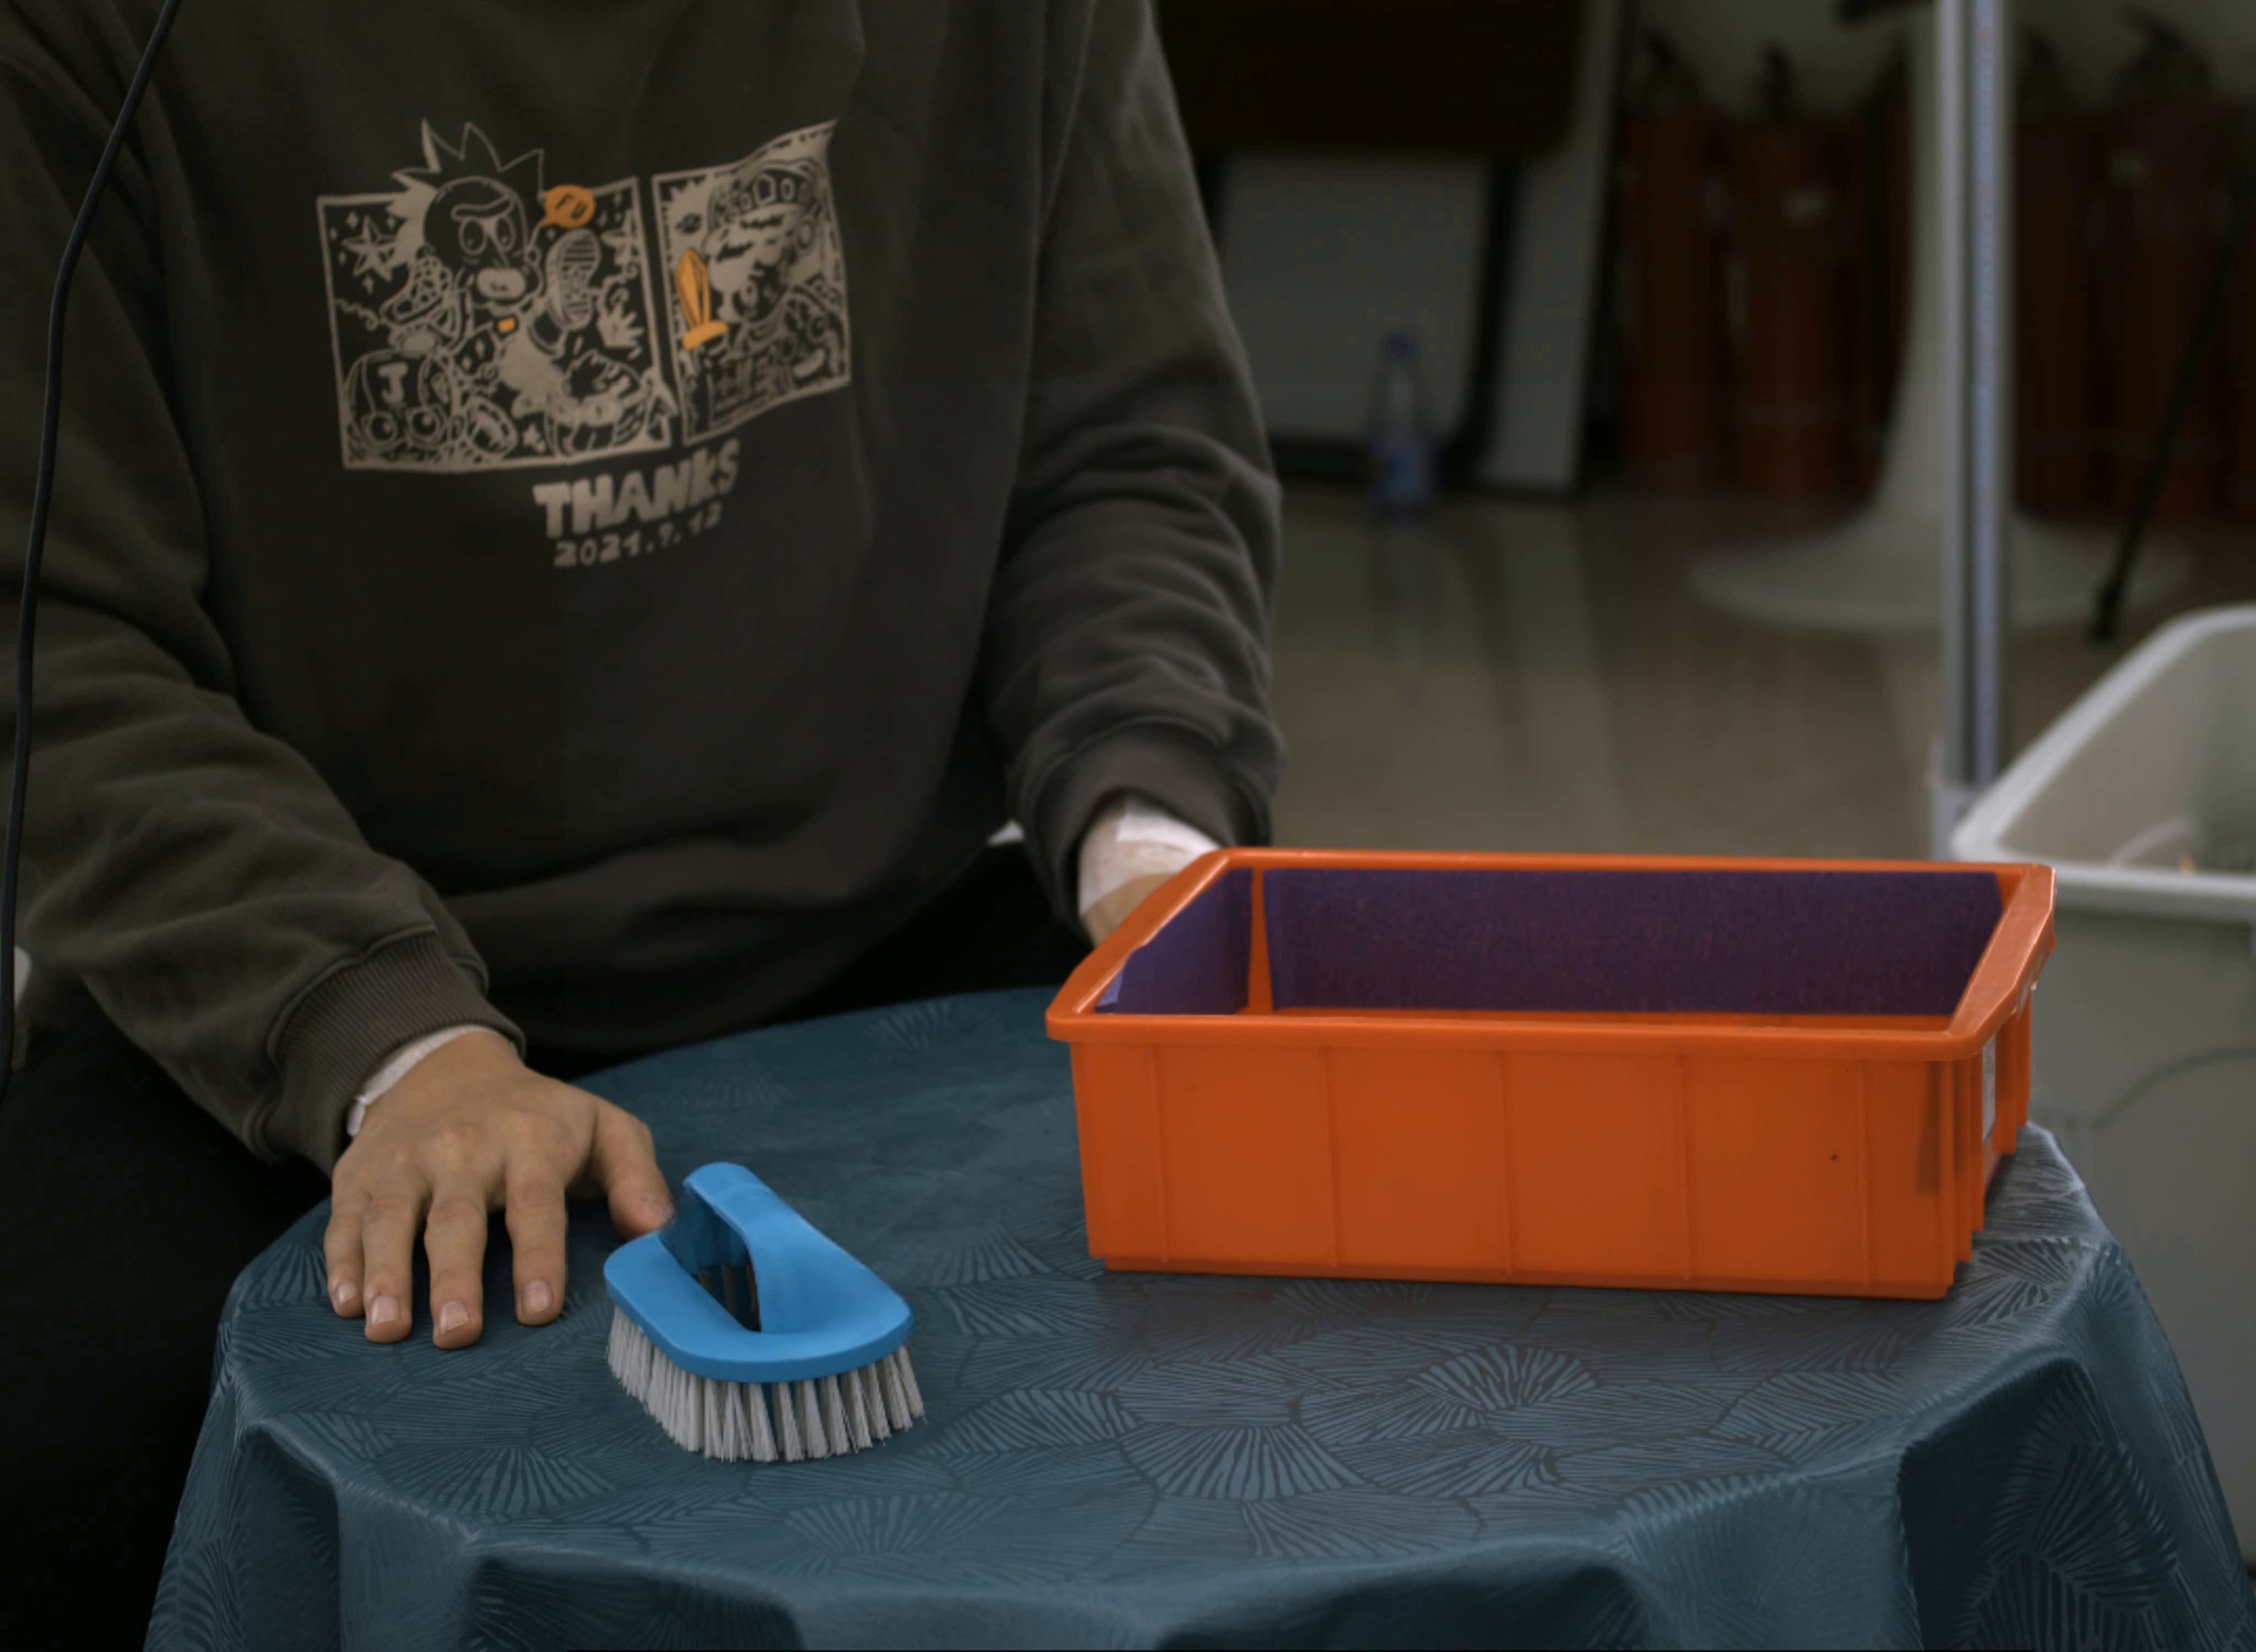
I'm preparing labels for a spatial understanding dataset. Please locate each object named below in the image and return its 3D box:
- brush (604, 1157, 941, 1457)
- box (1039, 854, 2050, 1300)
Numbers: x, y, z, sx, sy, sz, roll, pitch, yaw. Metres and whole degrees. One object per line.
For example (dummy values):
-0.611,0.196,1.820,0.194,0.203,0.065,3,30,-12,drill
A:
-0.110,0.136,1.608,0.083,0.064,0.143,-13,14,-16,brush
0.139,0.079,1.727,0.303,0.097,0.204,1,14,18,box
